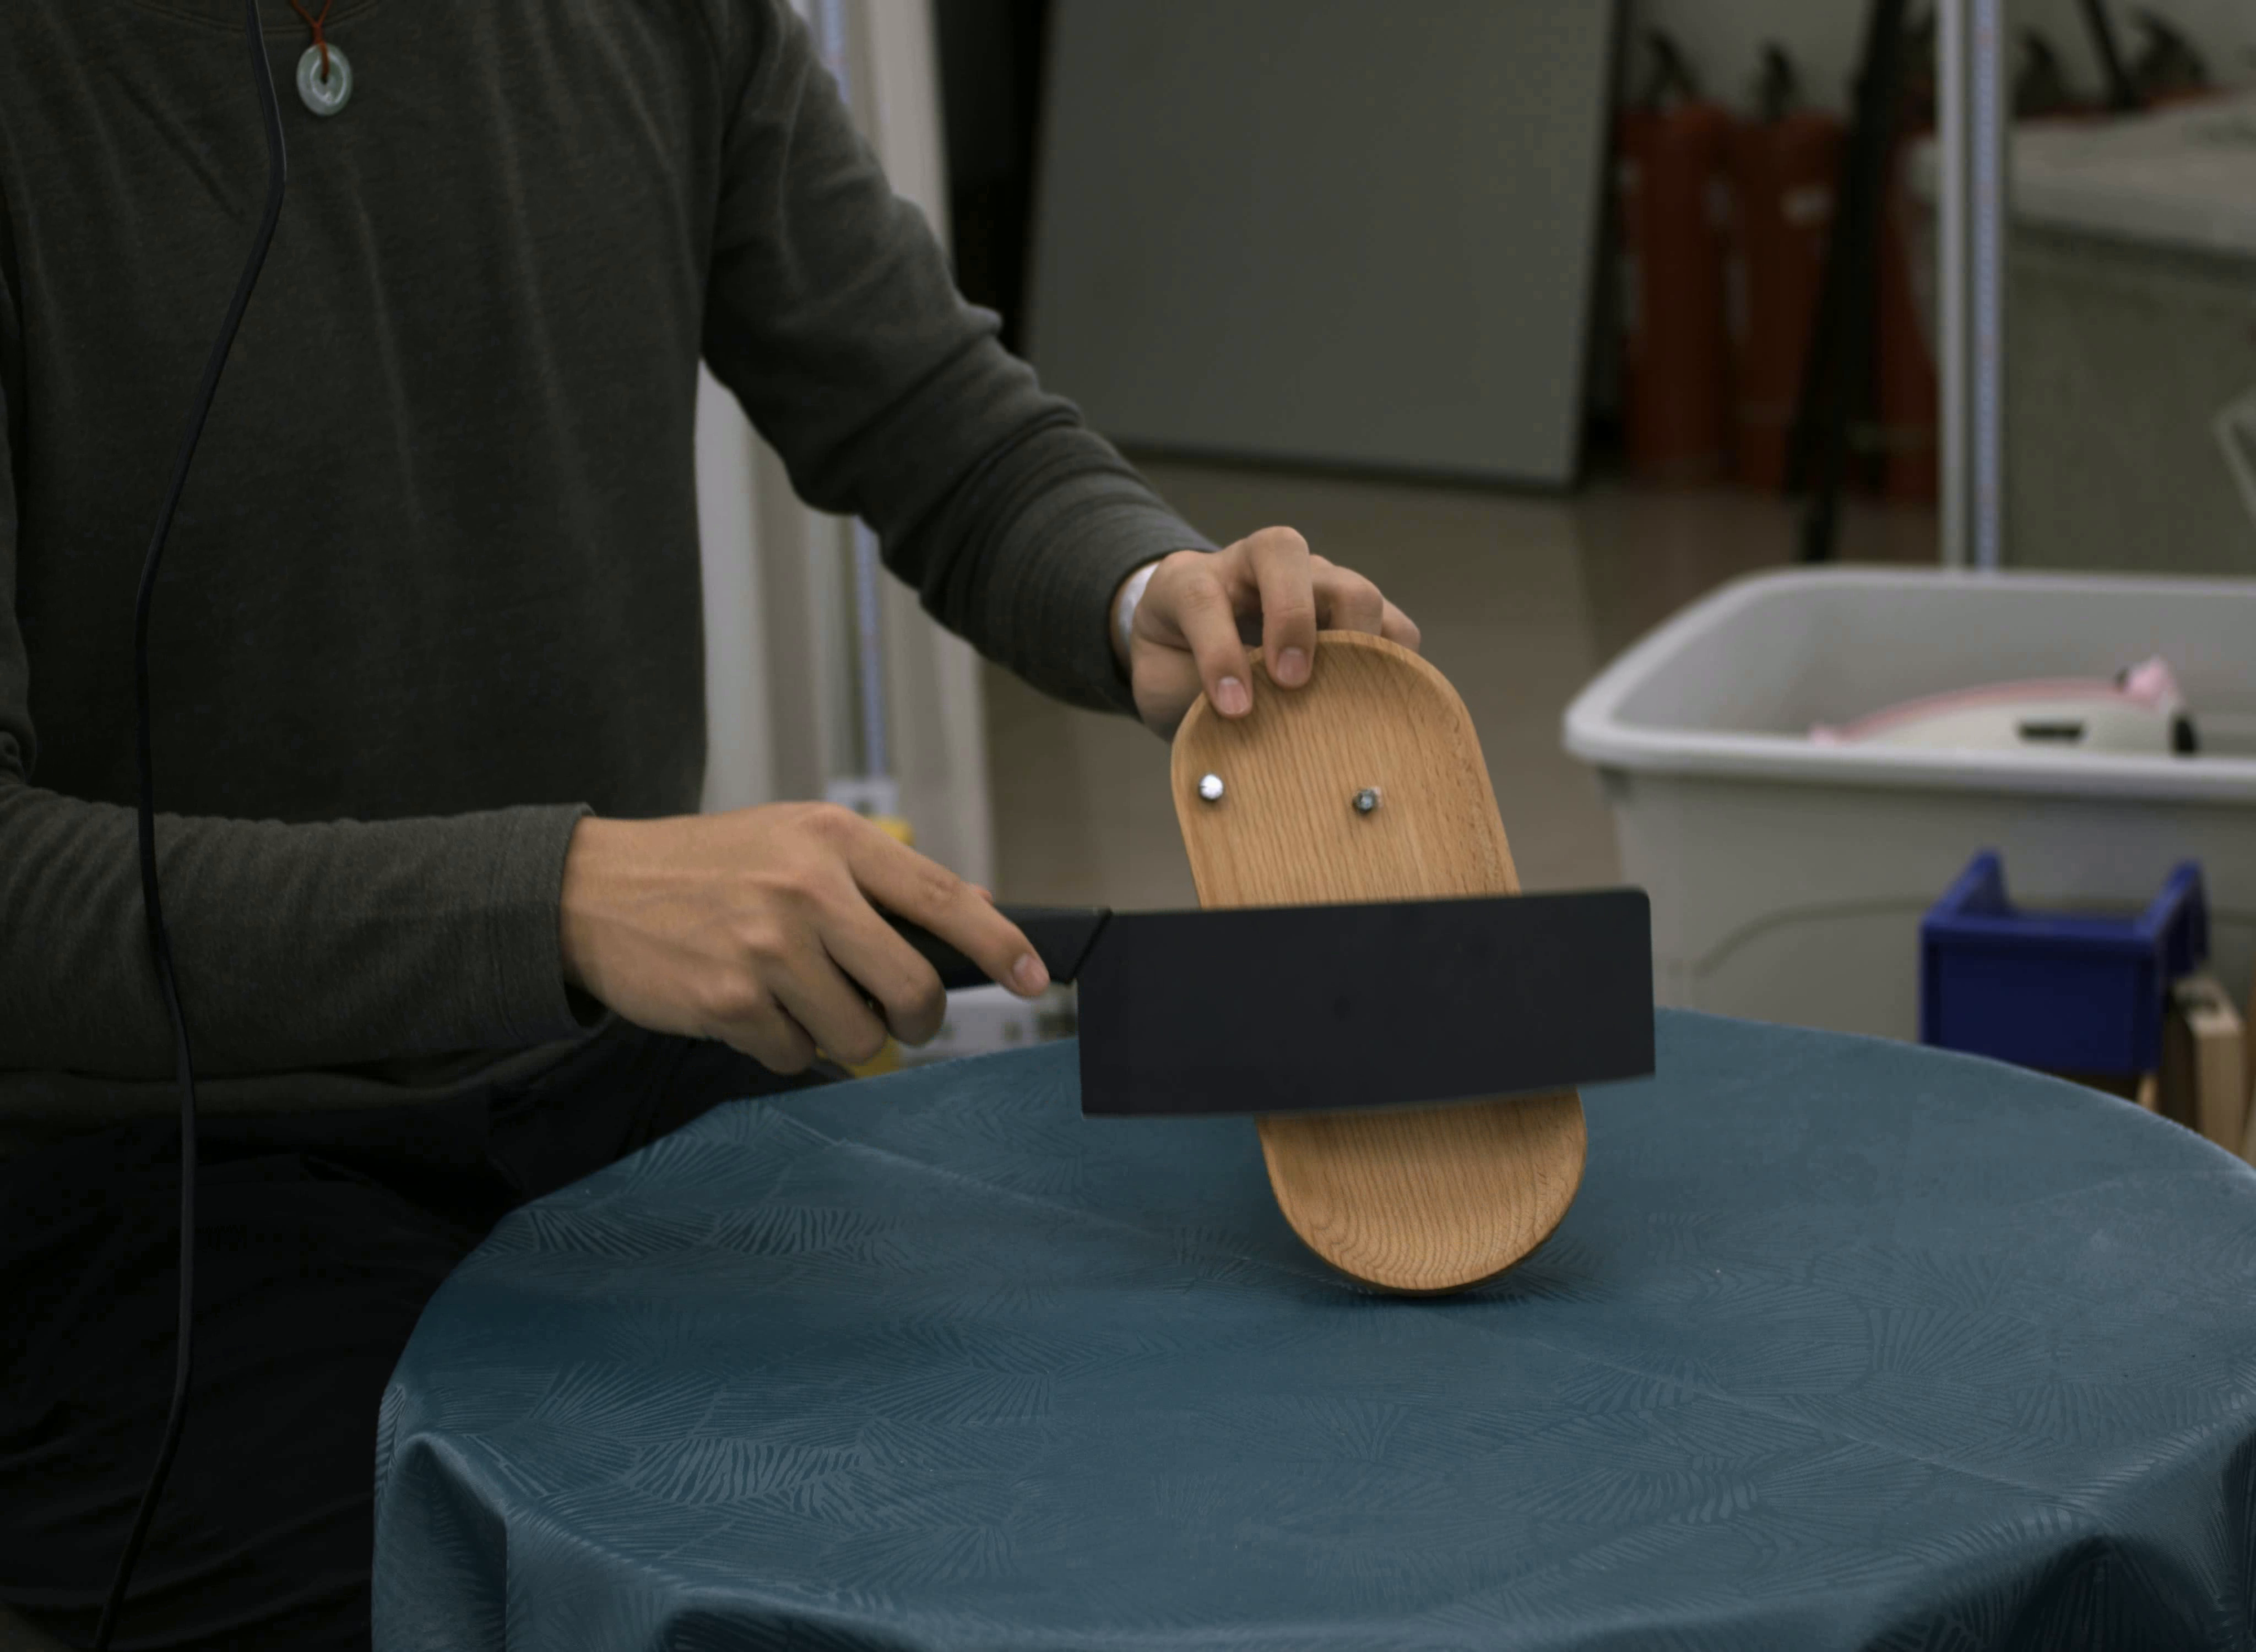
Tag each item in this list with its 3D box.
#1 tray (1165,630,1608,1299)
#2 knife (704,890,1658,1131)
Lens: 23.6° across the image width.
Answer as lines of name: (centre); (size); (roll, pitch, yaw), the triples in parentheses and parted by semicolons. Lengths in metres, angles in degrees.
tray: (0.080, 0.042, 1.693); (0.101, 0.234, 0.020); (-19, -26, 3)
knife: (0.016, 0.056, 1.672); (0.300, 0.082, 0.021); (1, -14, 10)
